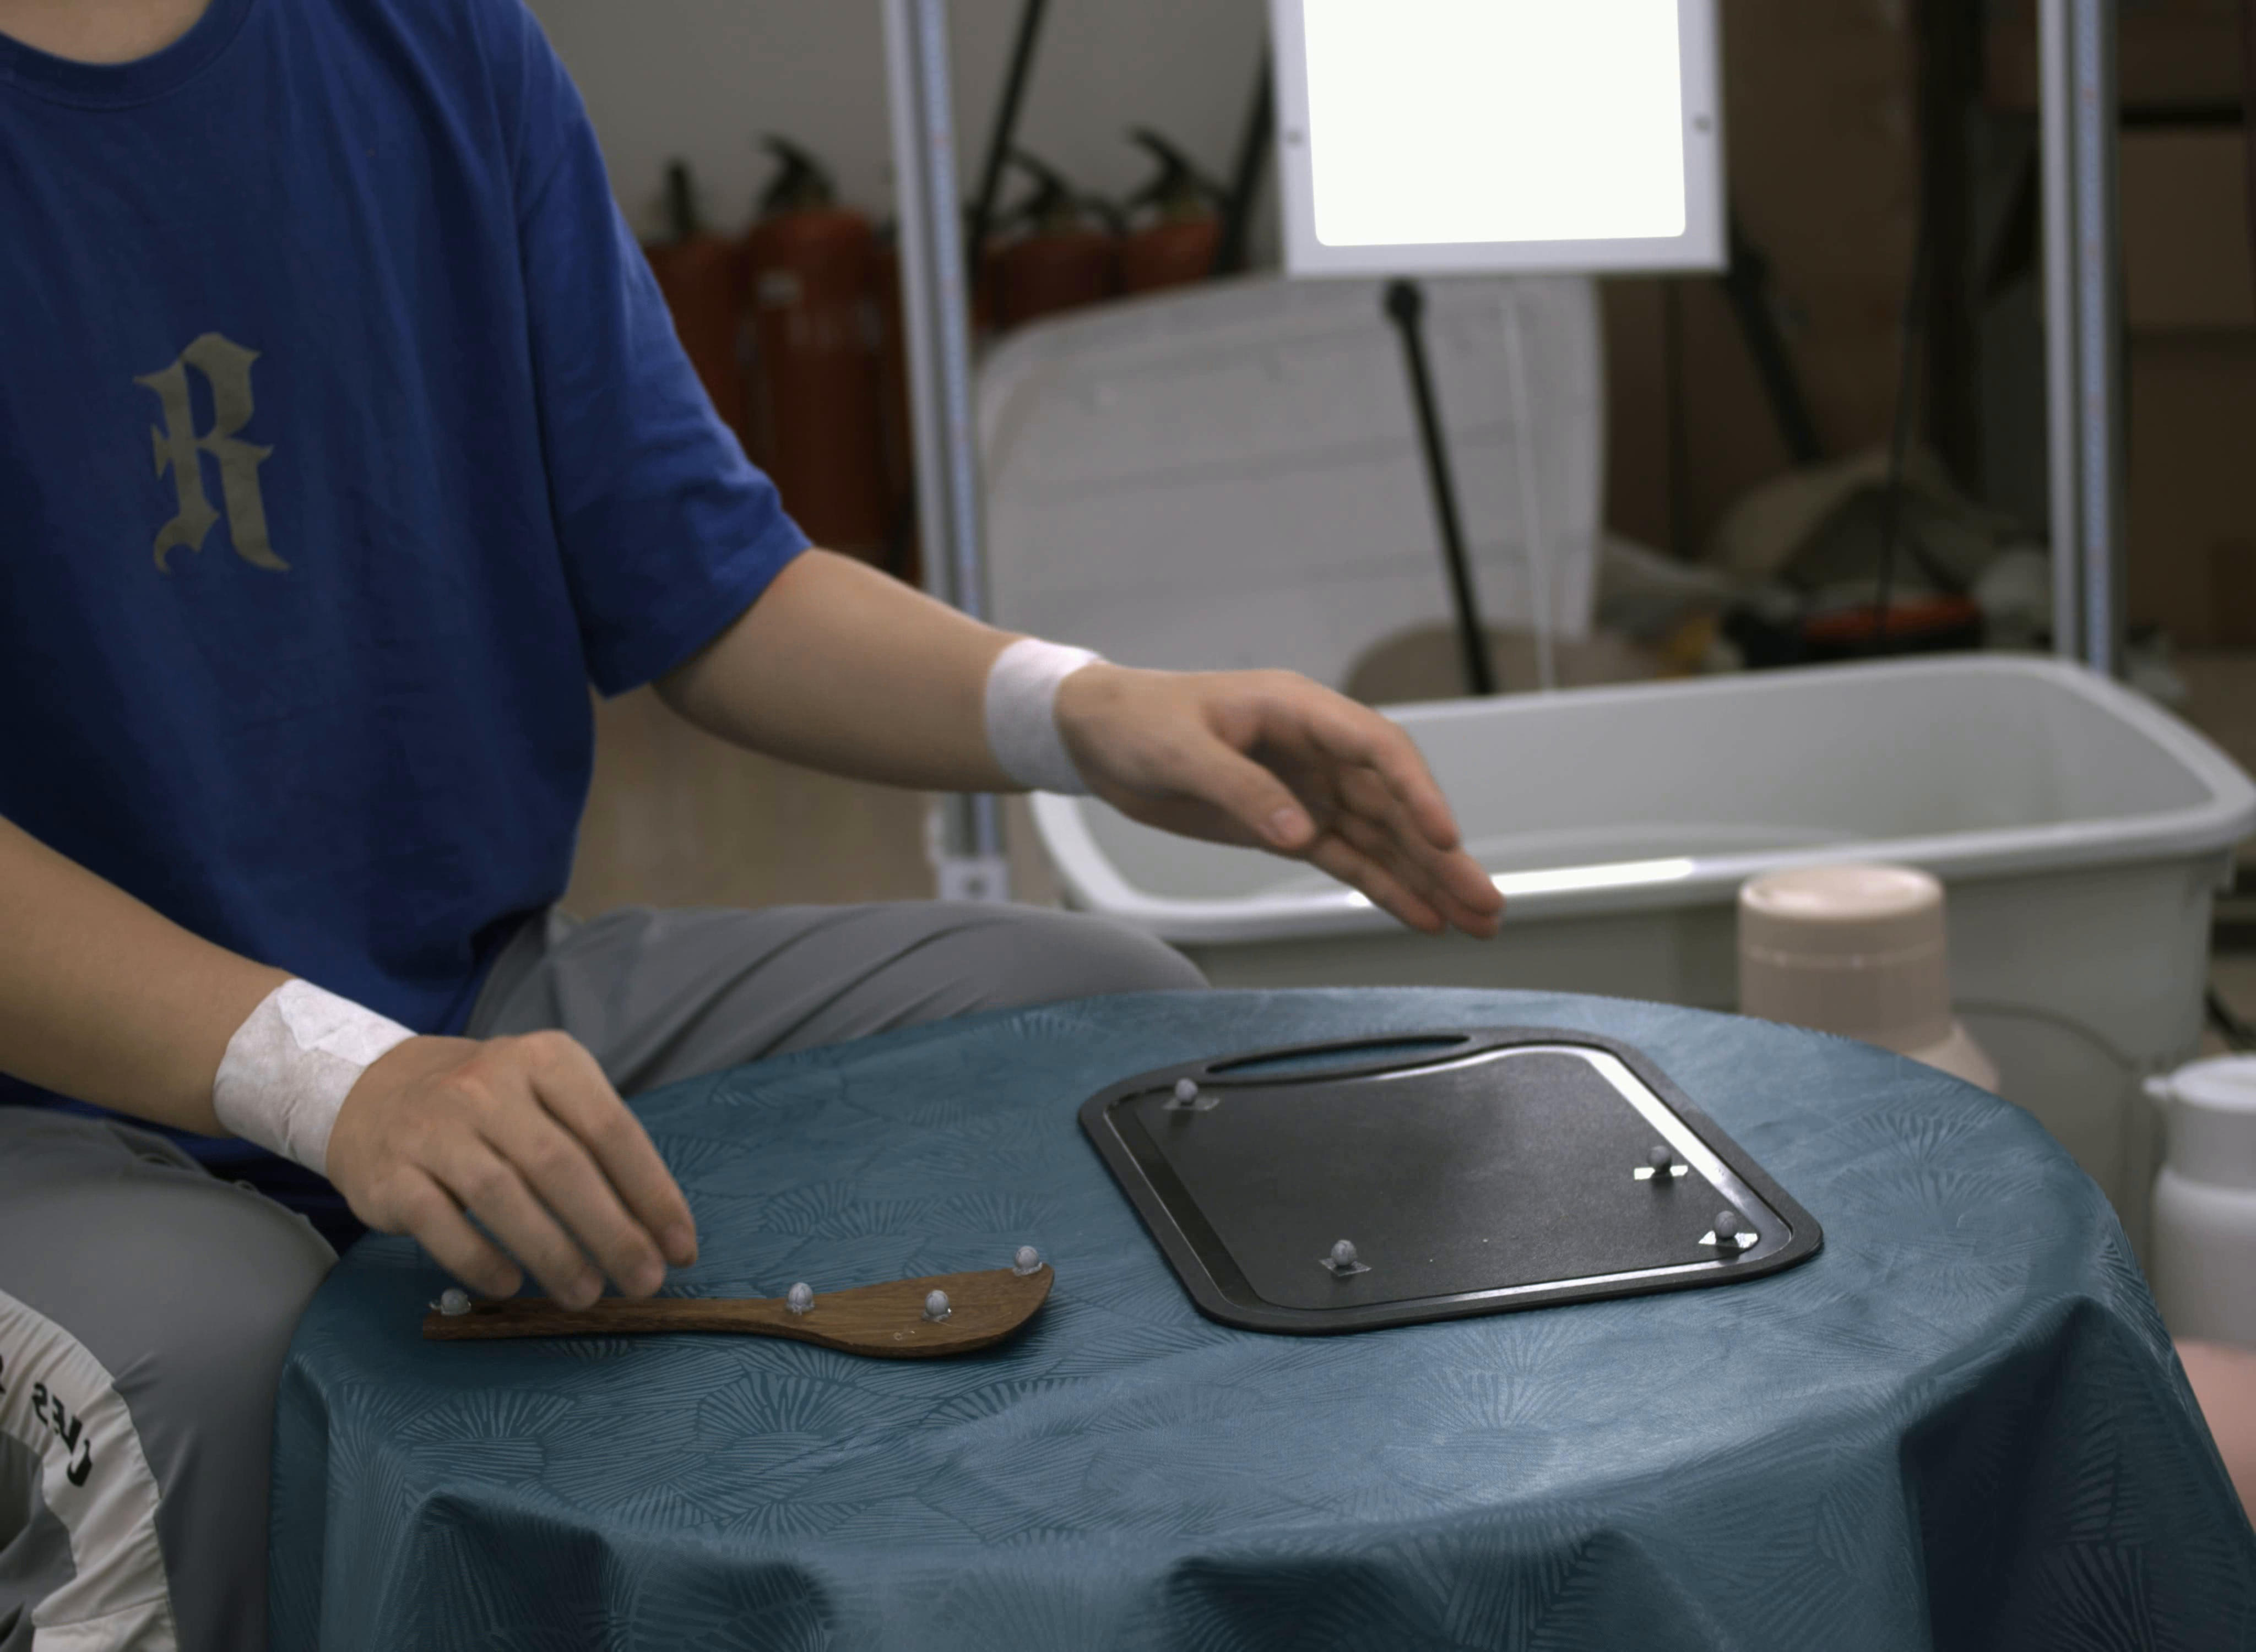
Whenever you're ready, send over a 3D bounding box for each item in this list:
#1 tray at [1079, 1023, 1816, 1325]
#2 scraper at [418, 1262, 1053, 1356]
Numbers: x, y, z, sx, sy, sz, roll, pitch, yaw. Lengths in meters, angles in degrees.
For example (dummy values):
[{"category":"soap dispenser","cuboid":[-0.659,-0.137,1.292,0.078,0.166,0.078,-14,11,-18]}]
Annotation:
[{"category":"tray","cuboid":[0.101,0.113,1.896,0.209,0.010,0.327,-7,14,-8]},{"category":"scraper","cuboid":[-0.129,0.158,1.794,0.213,0.011,0.075,-2,13,15]}]
